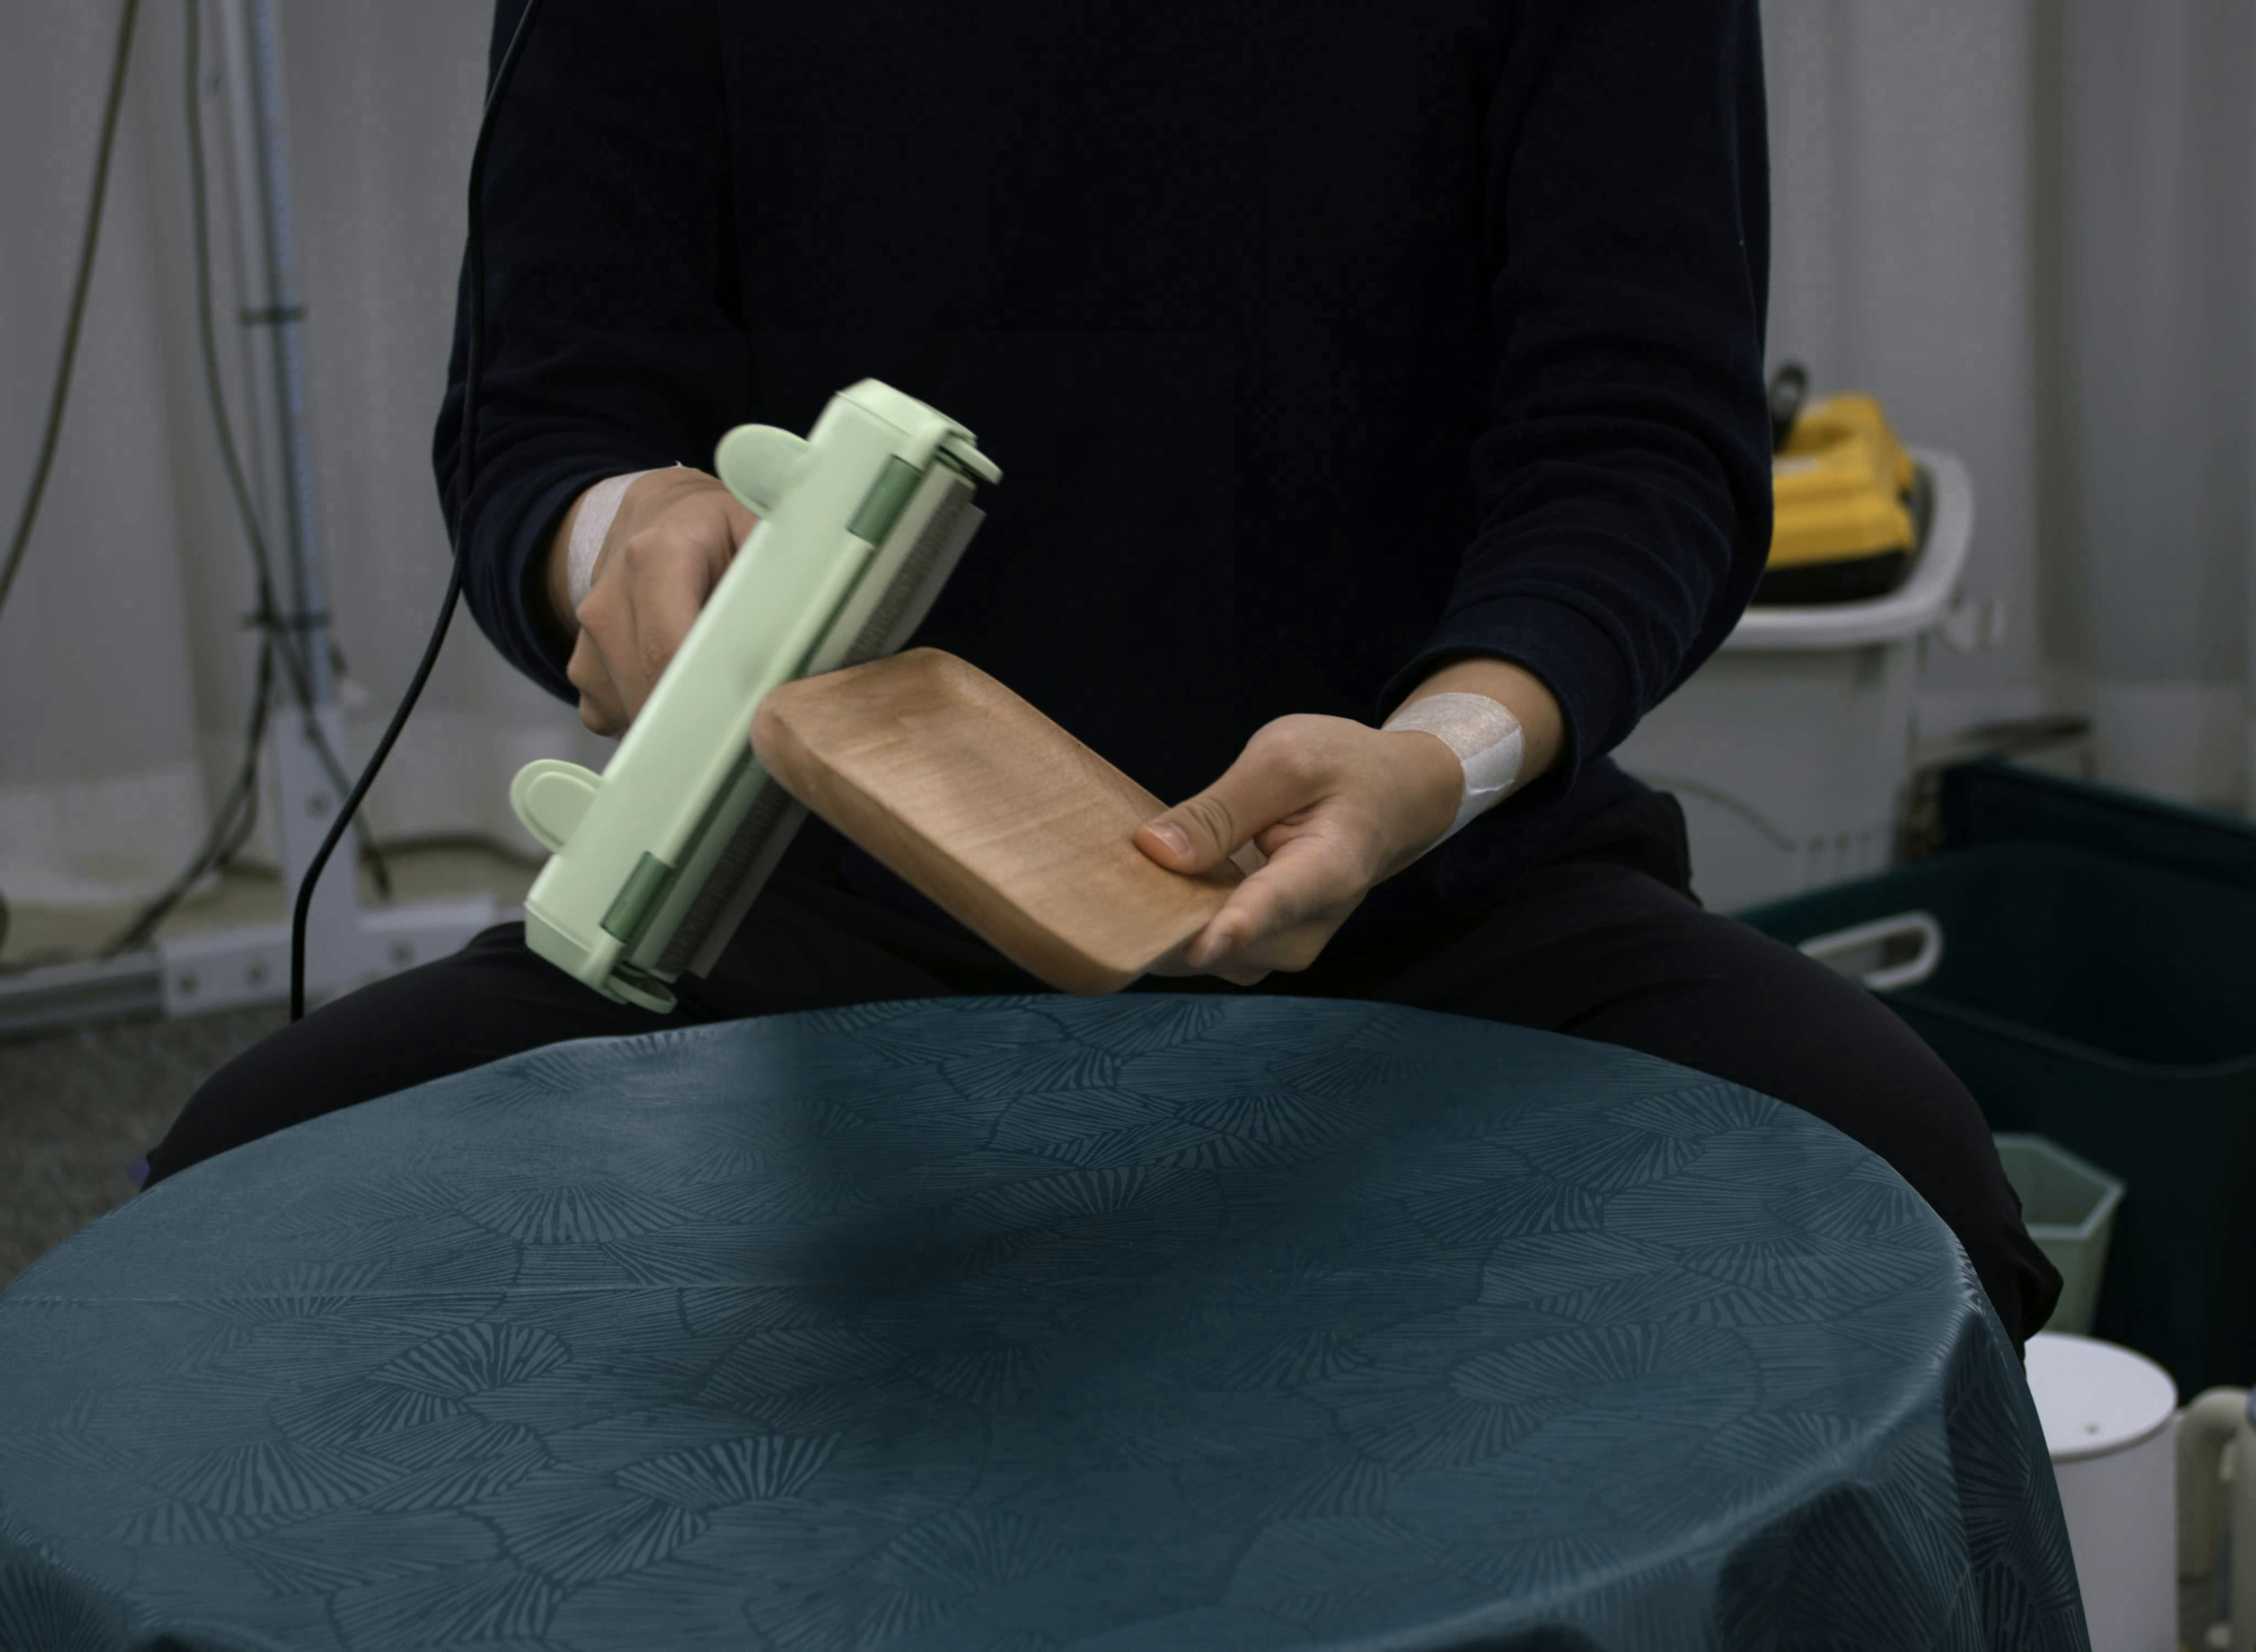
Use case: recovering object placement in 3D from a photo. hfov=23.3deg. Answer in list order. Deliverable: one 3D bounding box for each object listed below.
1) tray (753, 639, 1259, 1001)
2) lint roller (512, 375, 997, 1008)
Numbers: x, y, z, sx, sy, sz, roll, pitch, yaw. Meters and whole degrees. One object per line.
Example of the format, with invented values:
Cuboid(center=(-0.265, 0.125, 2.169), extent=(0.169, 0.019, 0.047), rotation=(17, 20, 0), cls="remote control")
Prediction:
Cuboid(center=(-0.032, -0.004, 1.571), extent=(0.131, 0.023, 0.251), rotation=(40, 10, 5), cls="tray")
Cuboid(center=(-0.134, -0.055, 1.665), extent=(0.081, 0.199, 0.185), rotation=(33, -1, -25), cls="lint roller")
